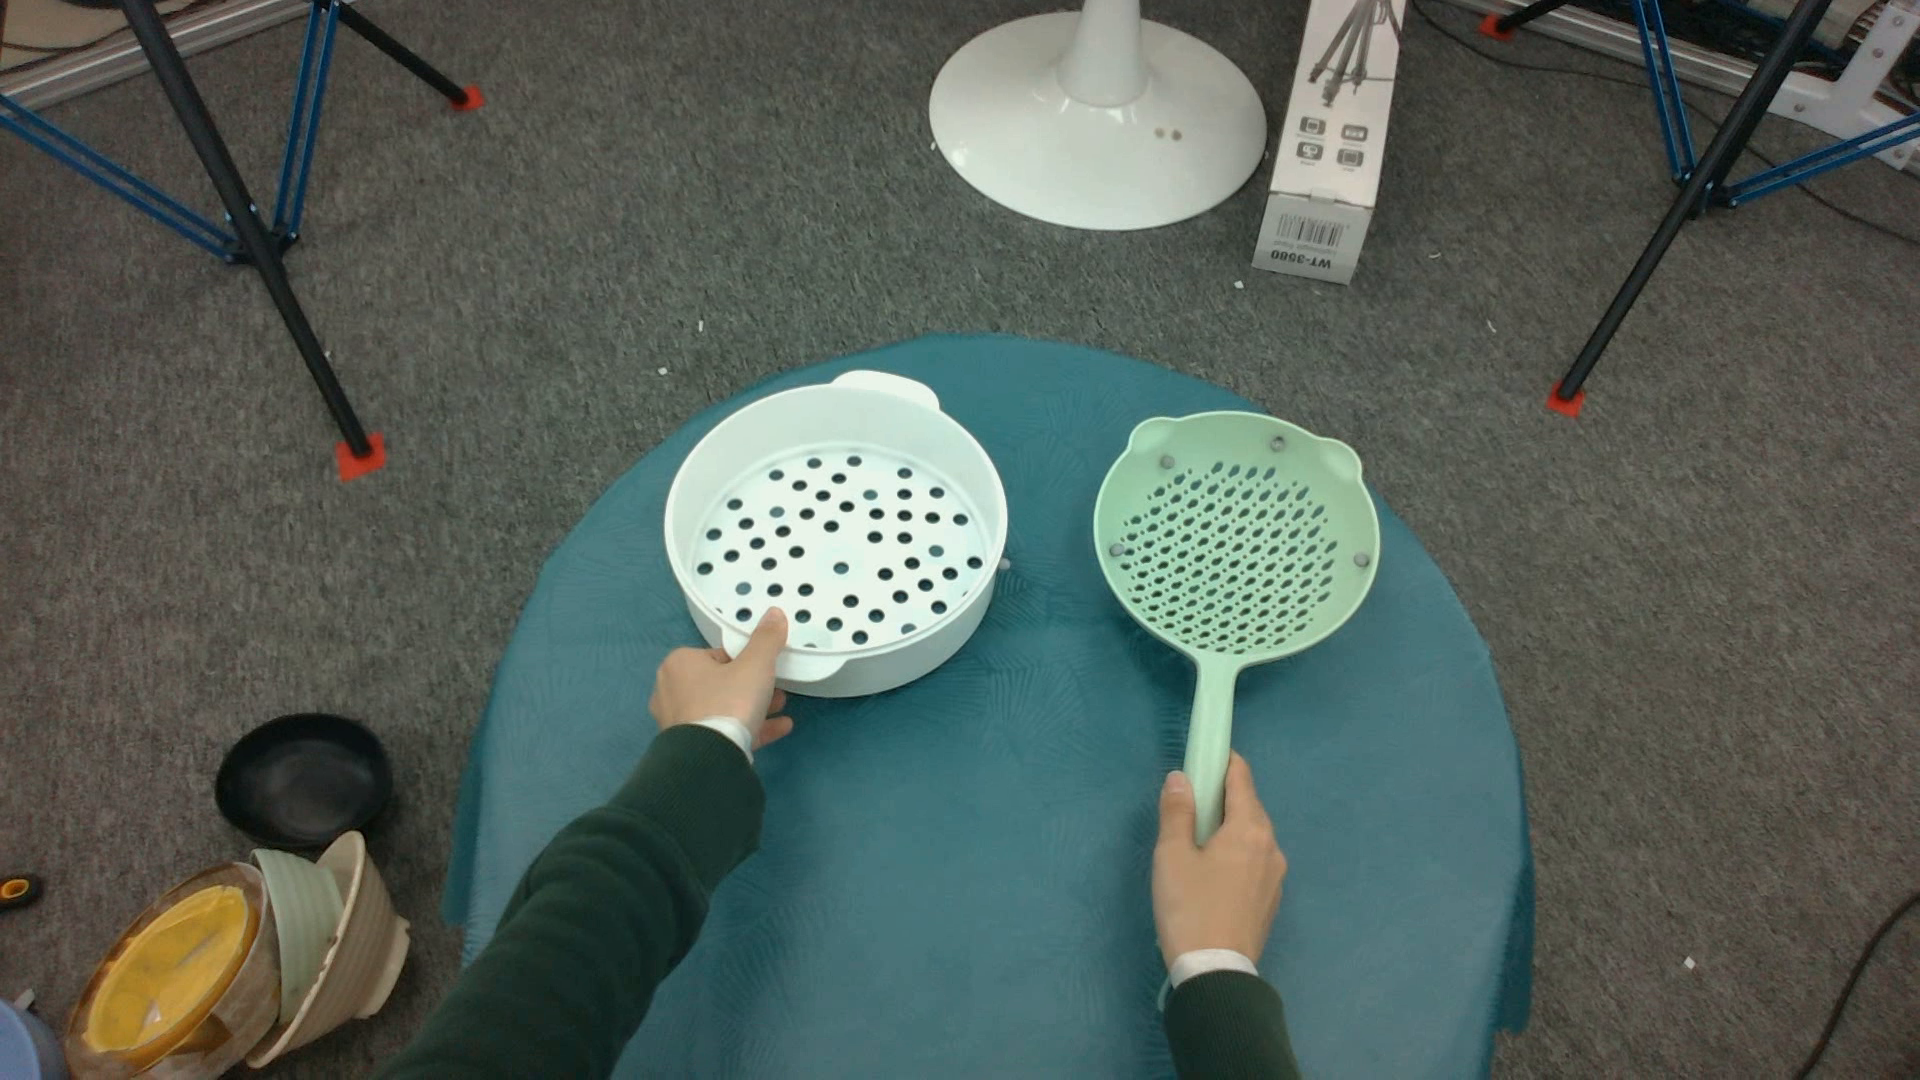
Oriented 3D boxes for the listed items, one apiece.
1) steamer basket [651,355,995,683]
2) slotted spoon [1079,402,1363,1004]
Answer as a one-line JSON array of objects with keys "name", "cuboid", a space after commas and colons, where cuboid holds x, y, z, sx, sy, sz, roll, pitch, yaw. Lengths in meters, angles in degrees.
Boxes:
[{"name": "steamer basket", "cuboid": [-0.081, -0.009, 0.835, 0.202, 0.069, 0.231, 12, 55, 6]}, {"name": "slotted spoon", "cuboid": [0.137, 0.077, 0.788, 0.169, 0.075, 0.360, 9, 54, 8]}]
